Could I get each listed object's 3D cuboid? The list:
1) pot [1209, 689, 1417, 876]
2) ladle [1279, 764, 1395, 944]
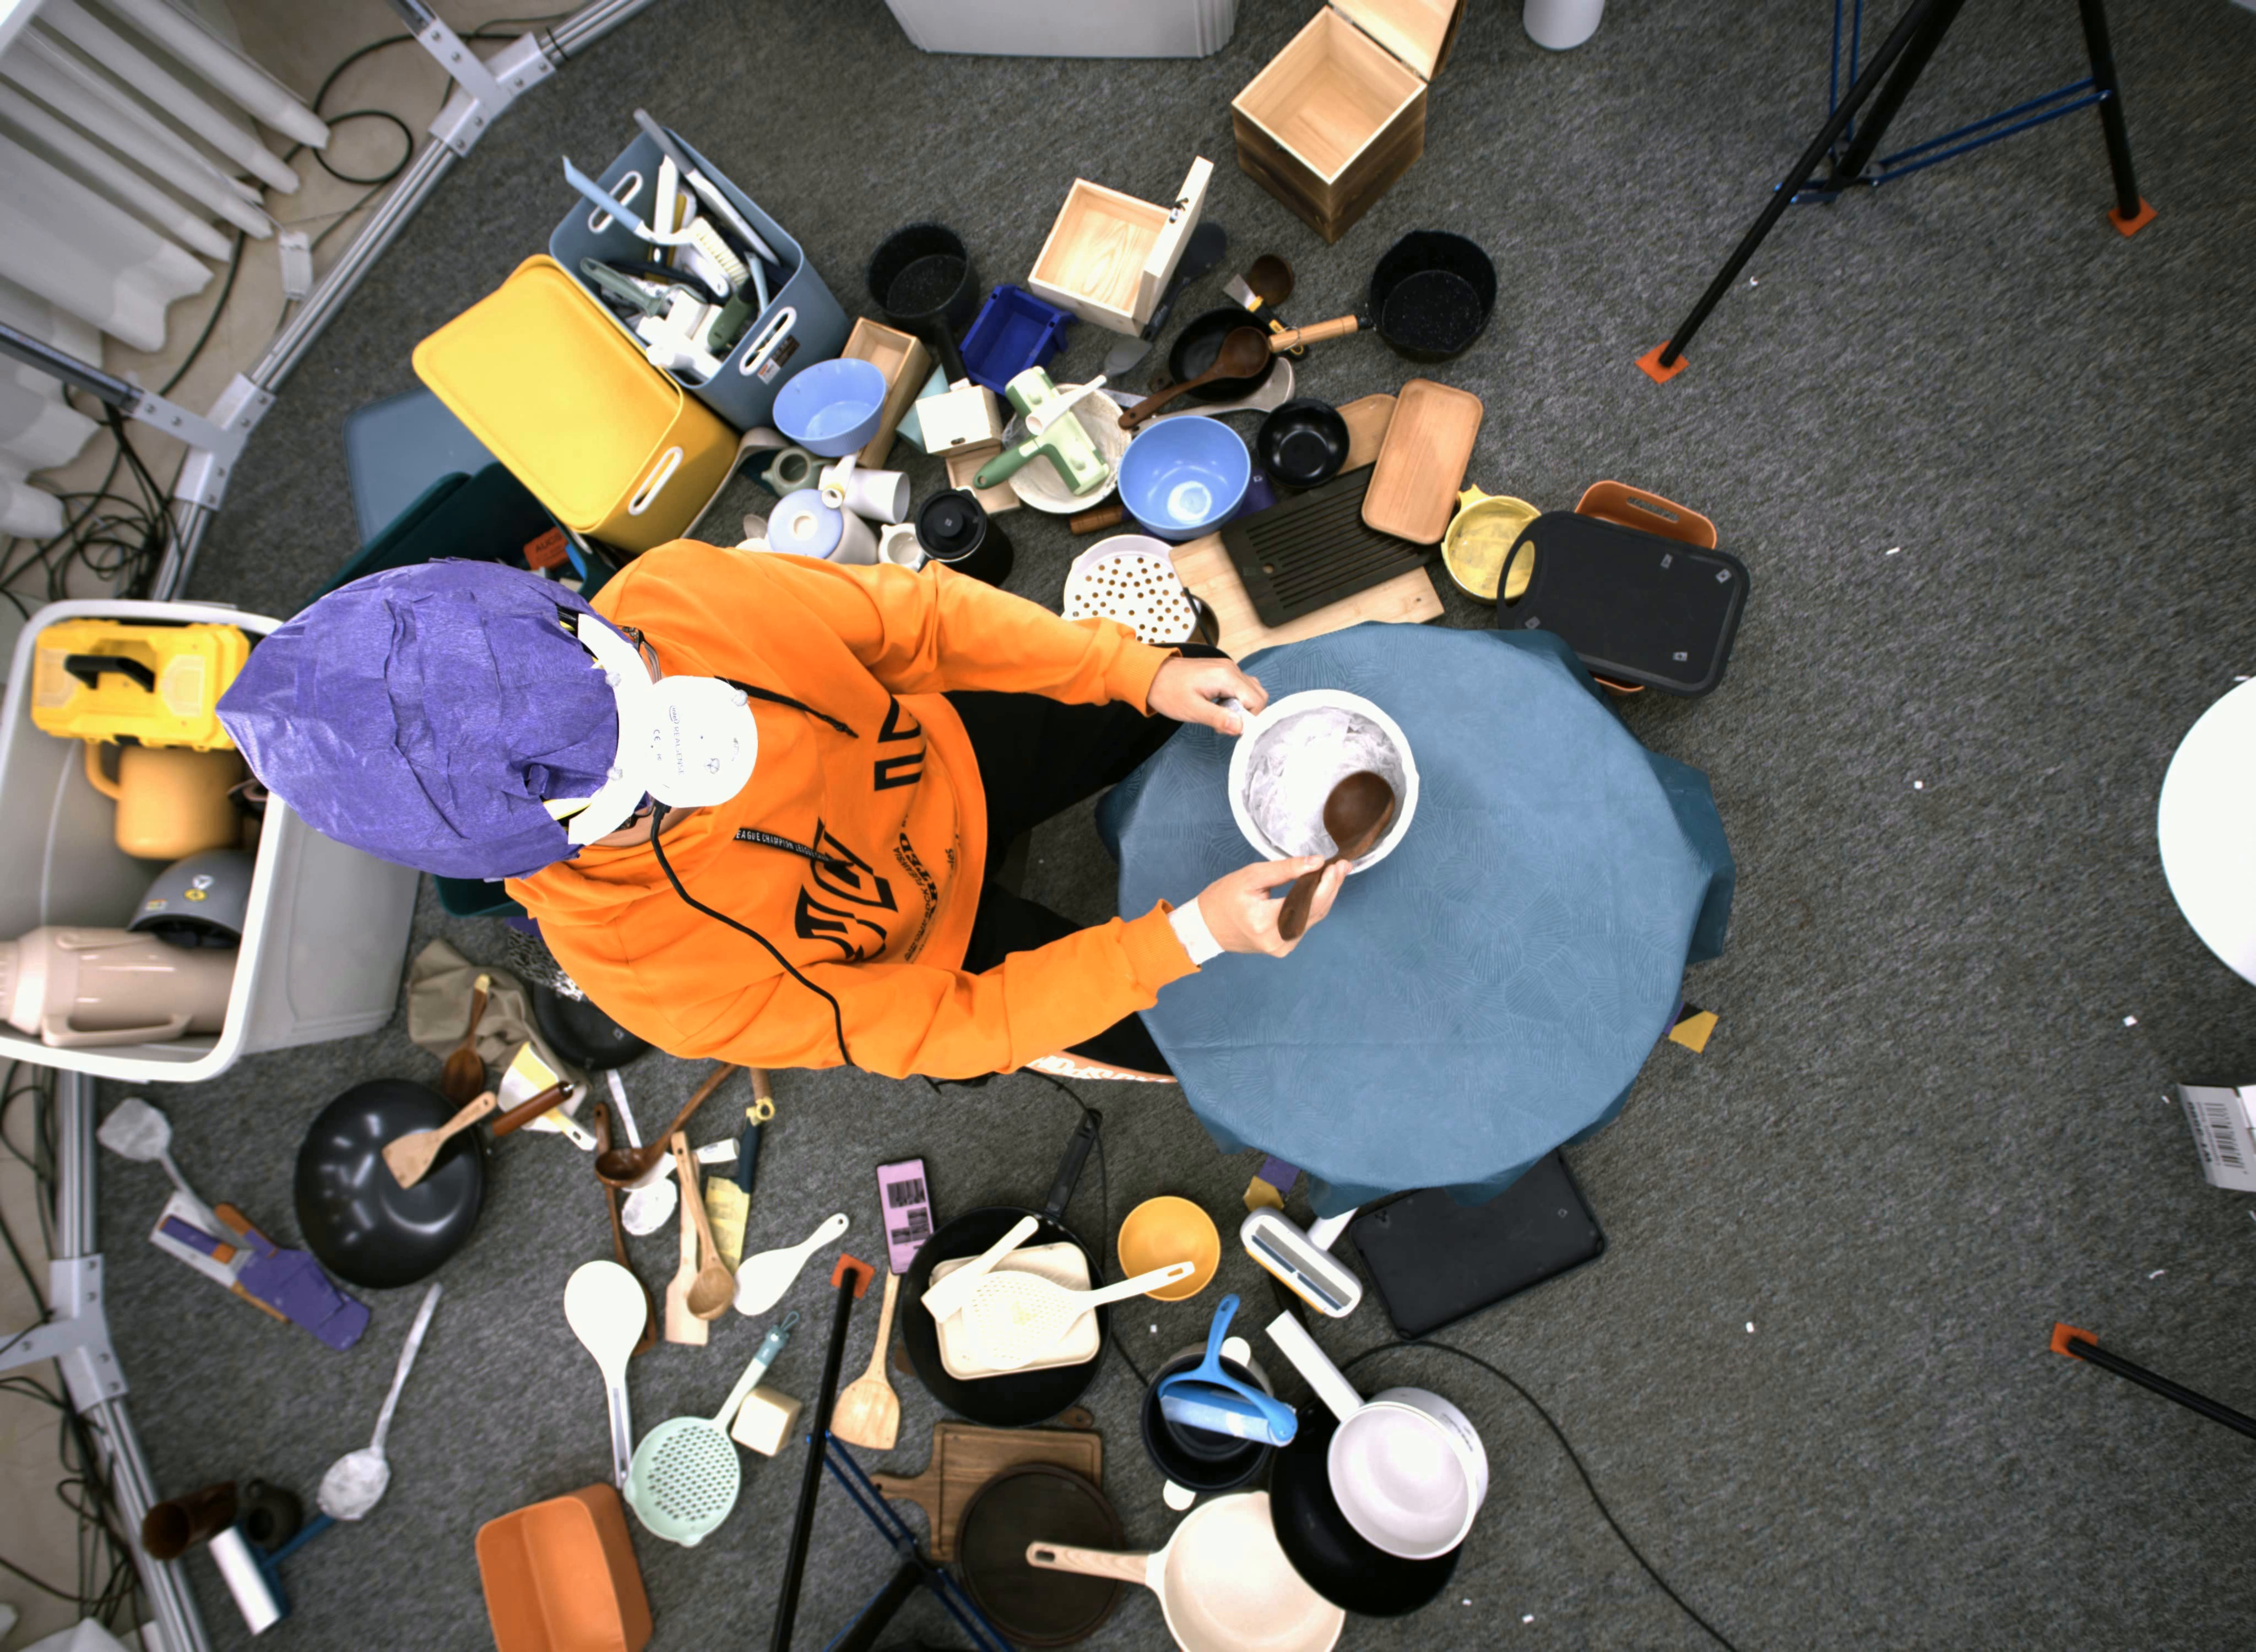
[{"bbox_3d":[0.173,-0.056,1.362,0.233,0.136,0.180,38,97,10],"label":"pot"},{"bbox_3d":[0.177,0.019,1.239,0.078,0.254,0.065,-24,101,36],"label":"ladle"}]
